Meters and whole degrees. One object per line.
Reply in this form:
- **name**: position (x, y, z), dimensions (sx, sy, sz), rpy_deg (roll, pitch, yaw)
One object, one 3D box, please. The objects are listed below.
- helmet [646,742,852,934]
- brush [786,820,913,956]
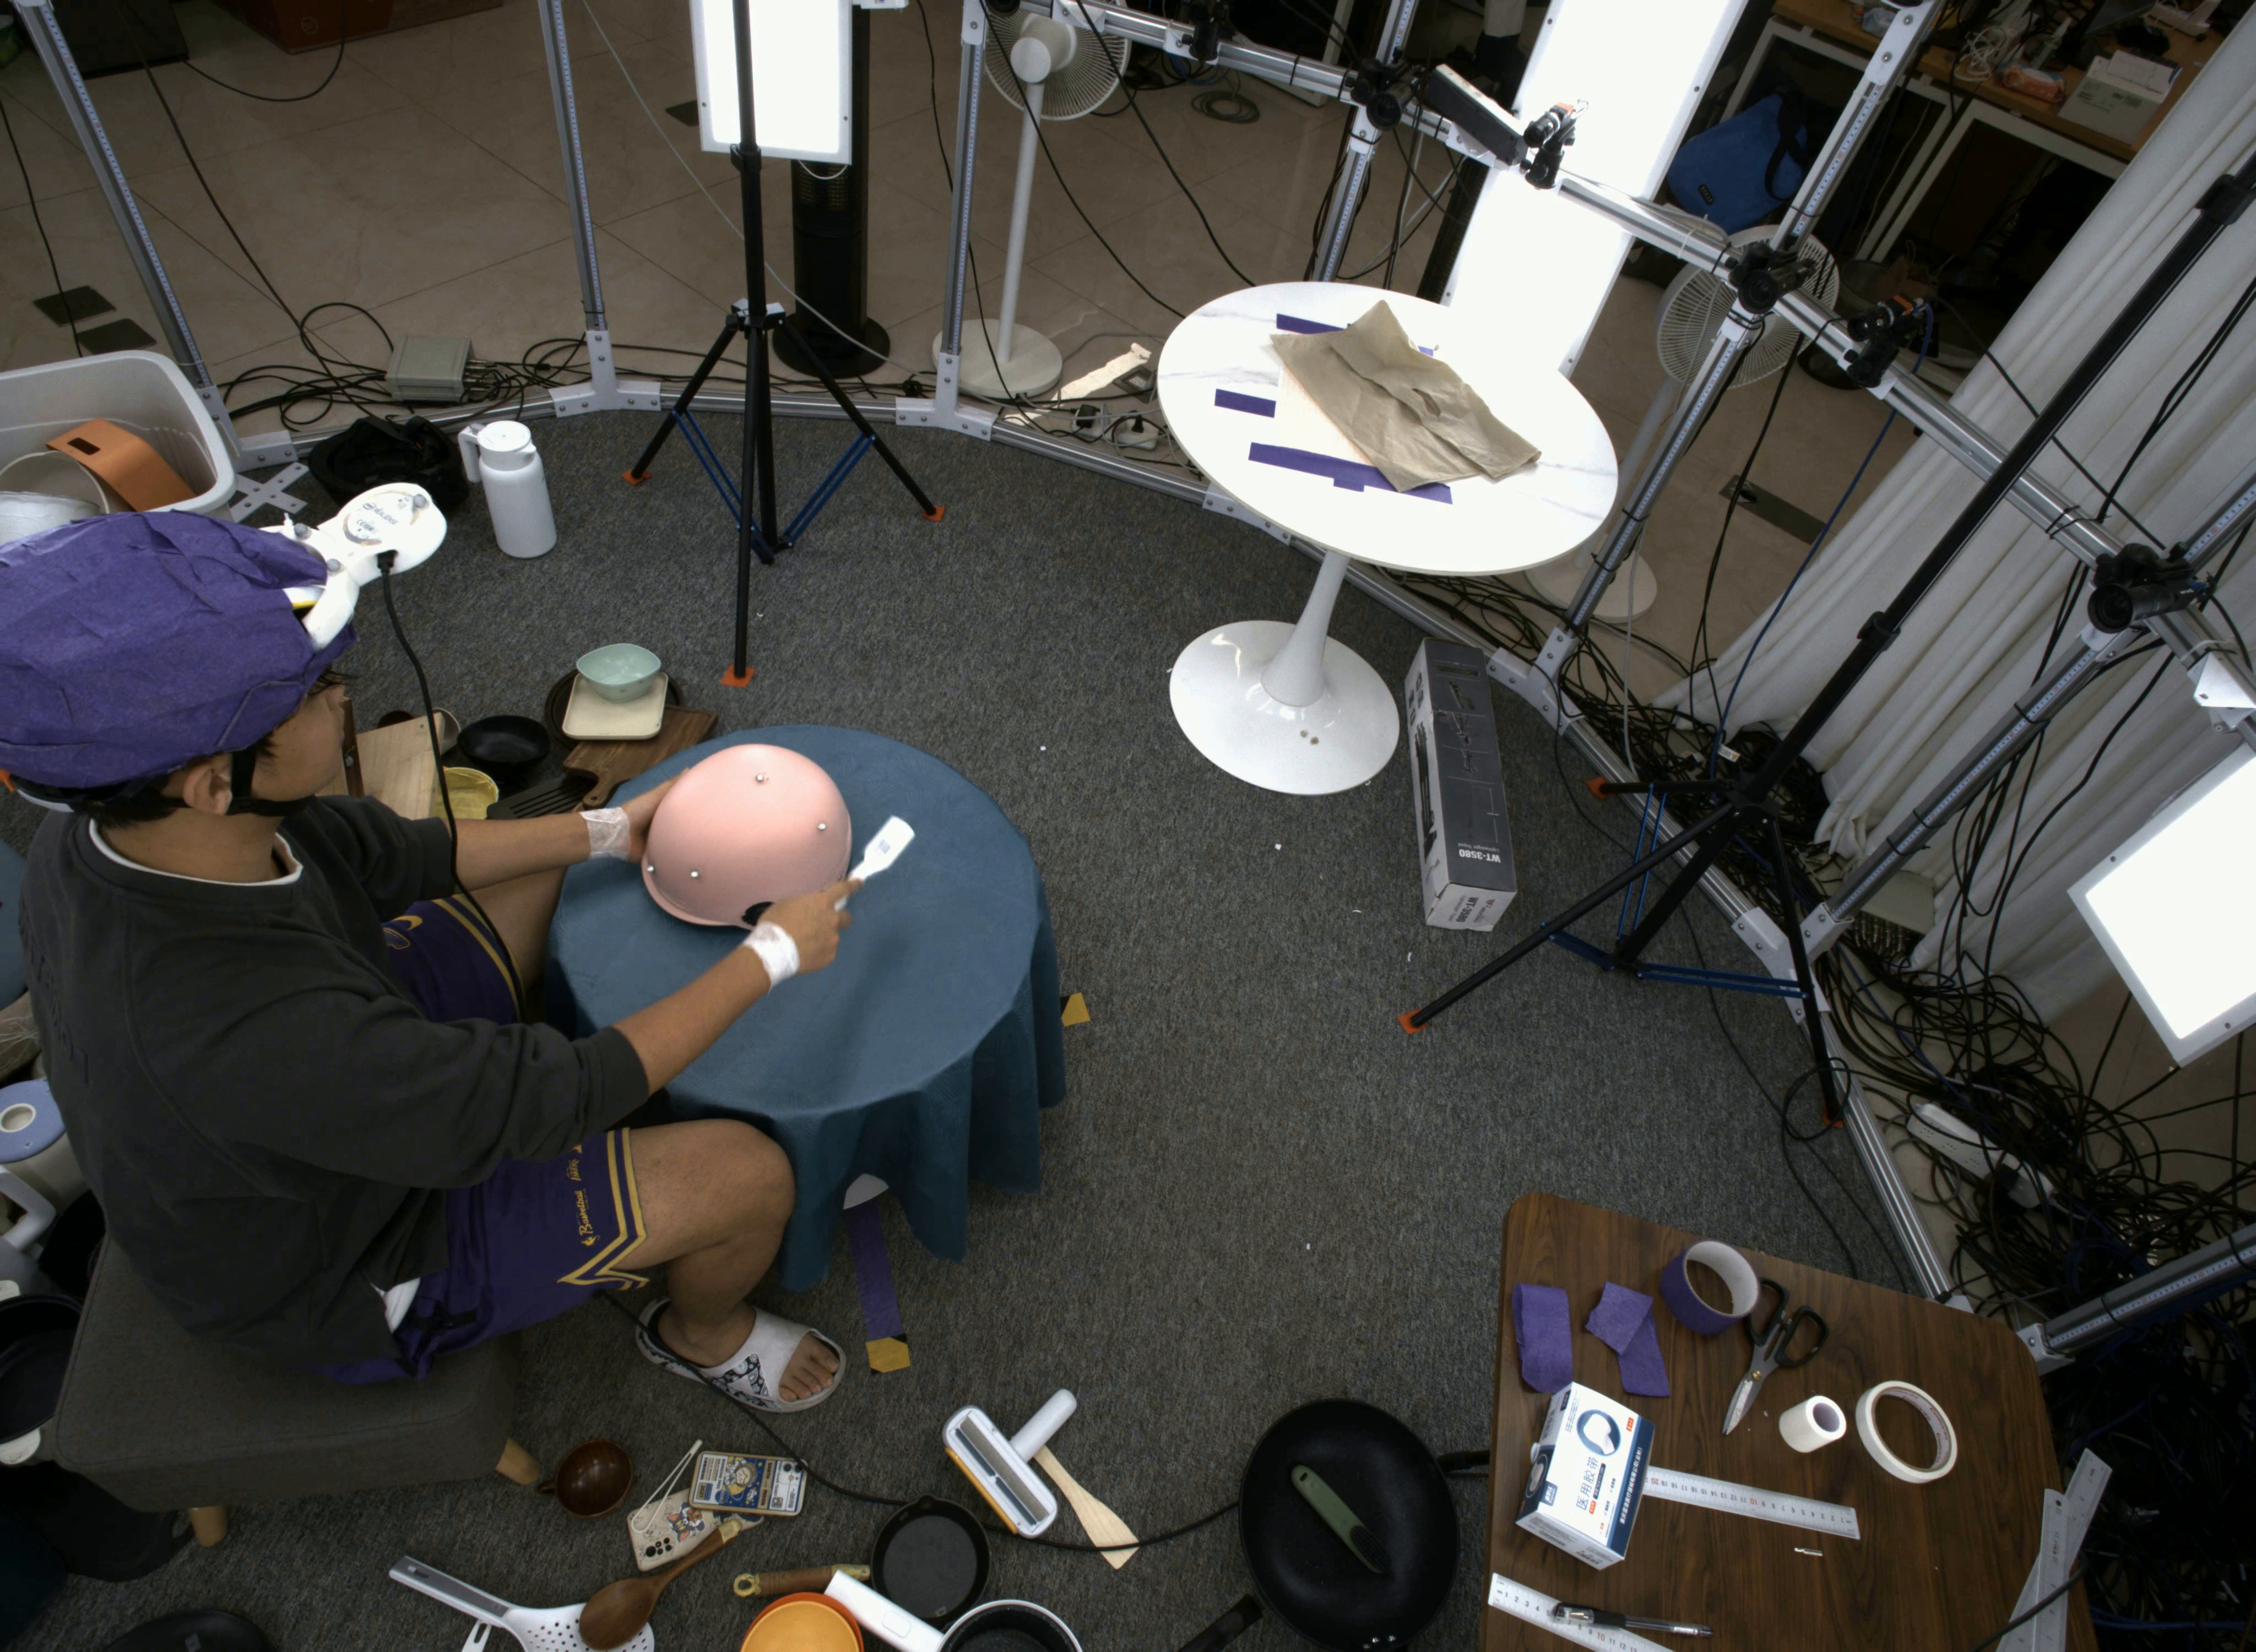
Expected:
- **helmet**: position (-0.477, -0.004, 1.609), dimensions (0.267, 0.161, 0.230), rpy_deg (-25, 69, -24)
- **brush**: position (-0.326, 0.077, 1.520), dimensions (0.034, 0.050, 0.242), rpy_deg (35, 47, 0)
